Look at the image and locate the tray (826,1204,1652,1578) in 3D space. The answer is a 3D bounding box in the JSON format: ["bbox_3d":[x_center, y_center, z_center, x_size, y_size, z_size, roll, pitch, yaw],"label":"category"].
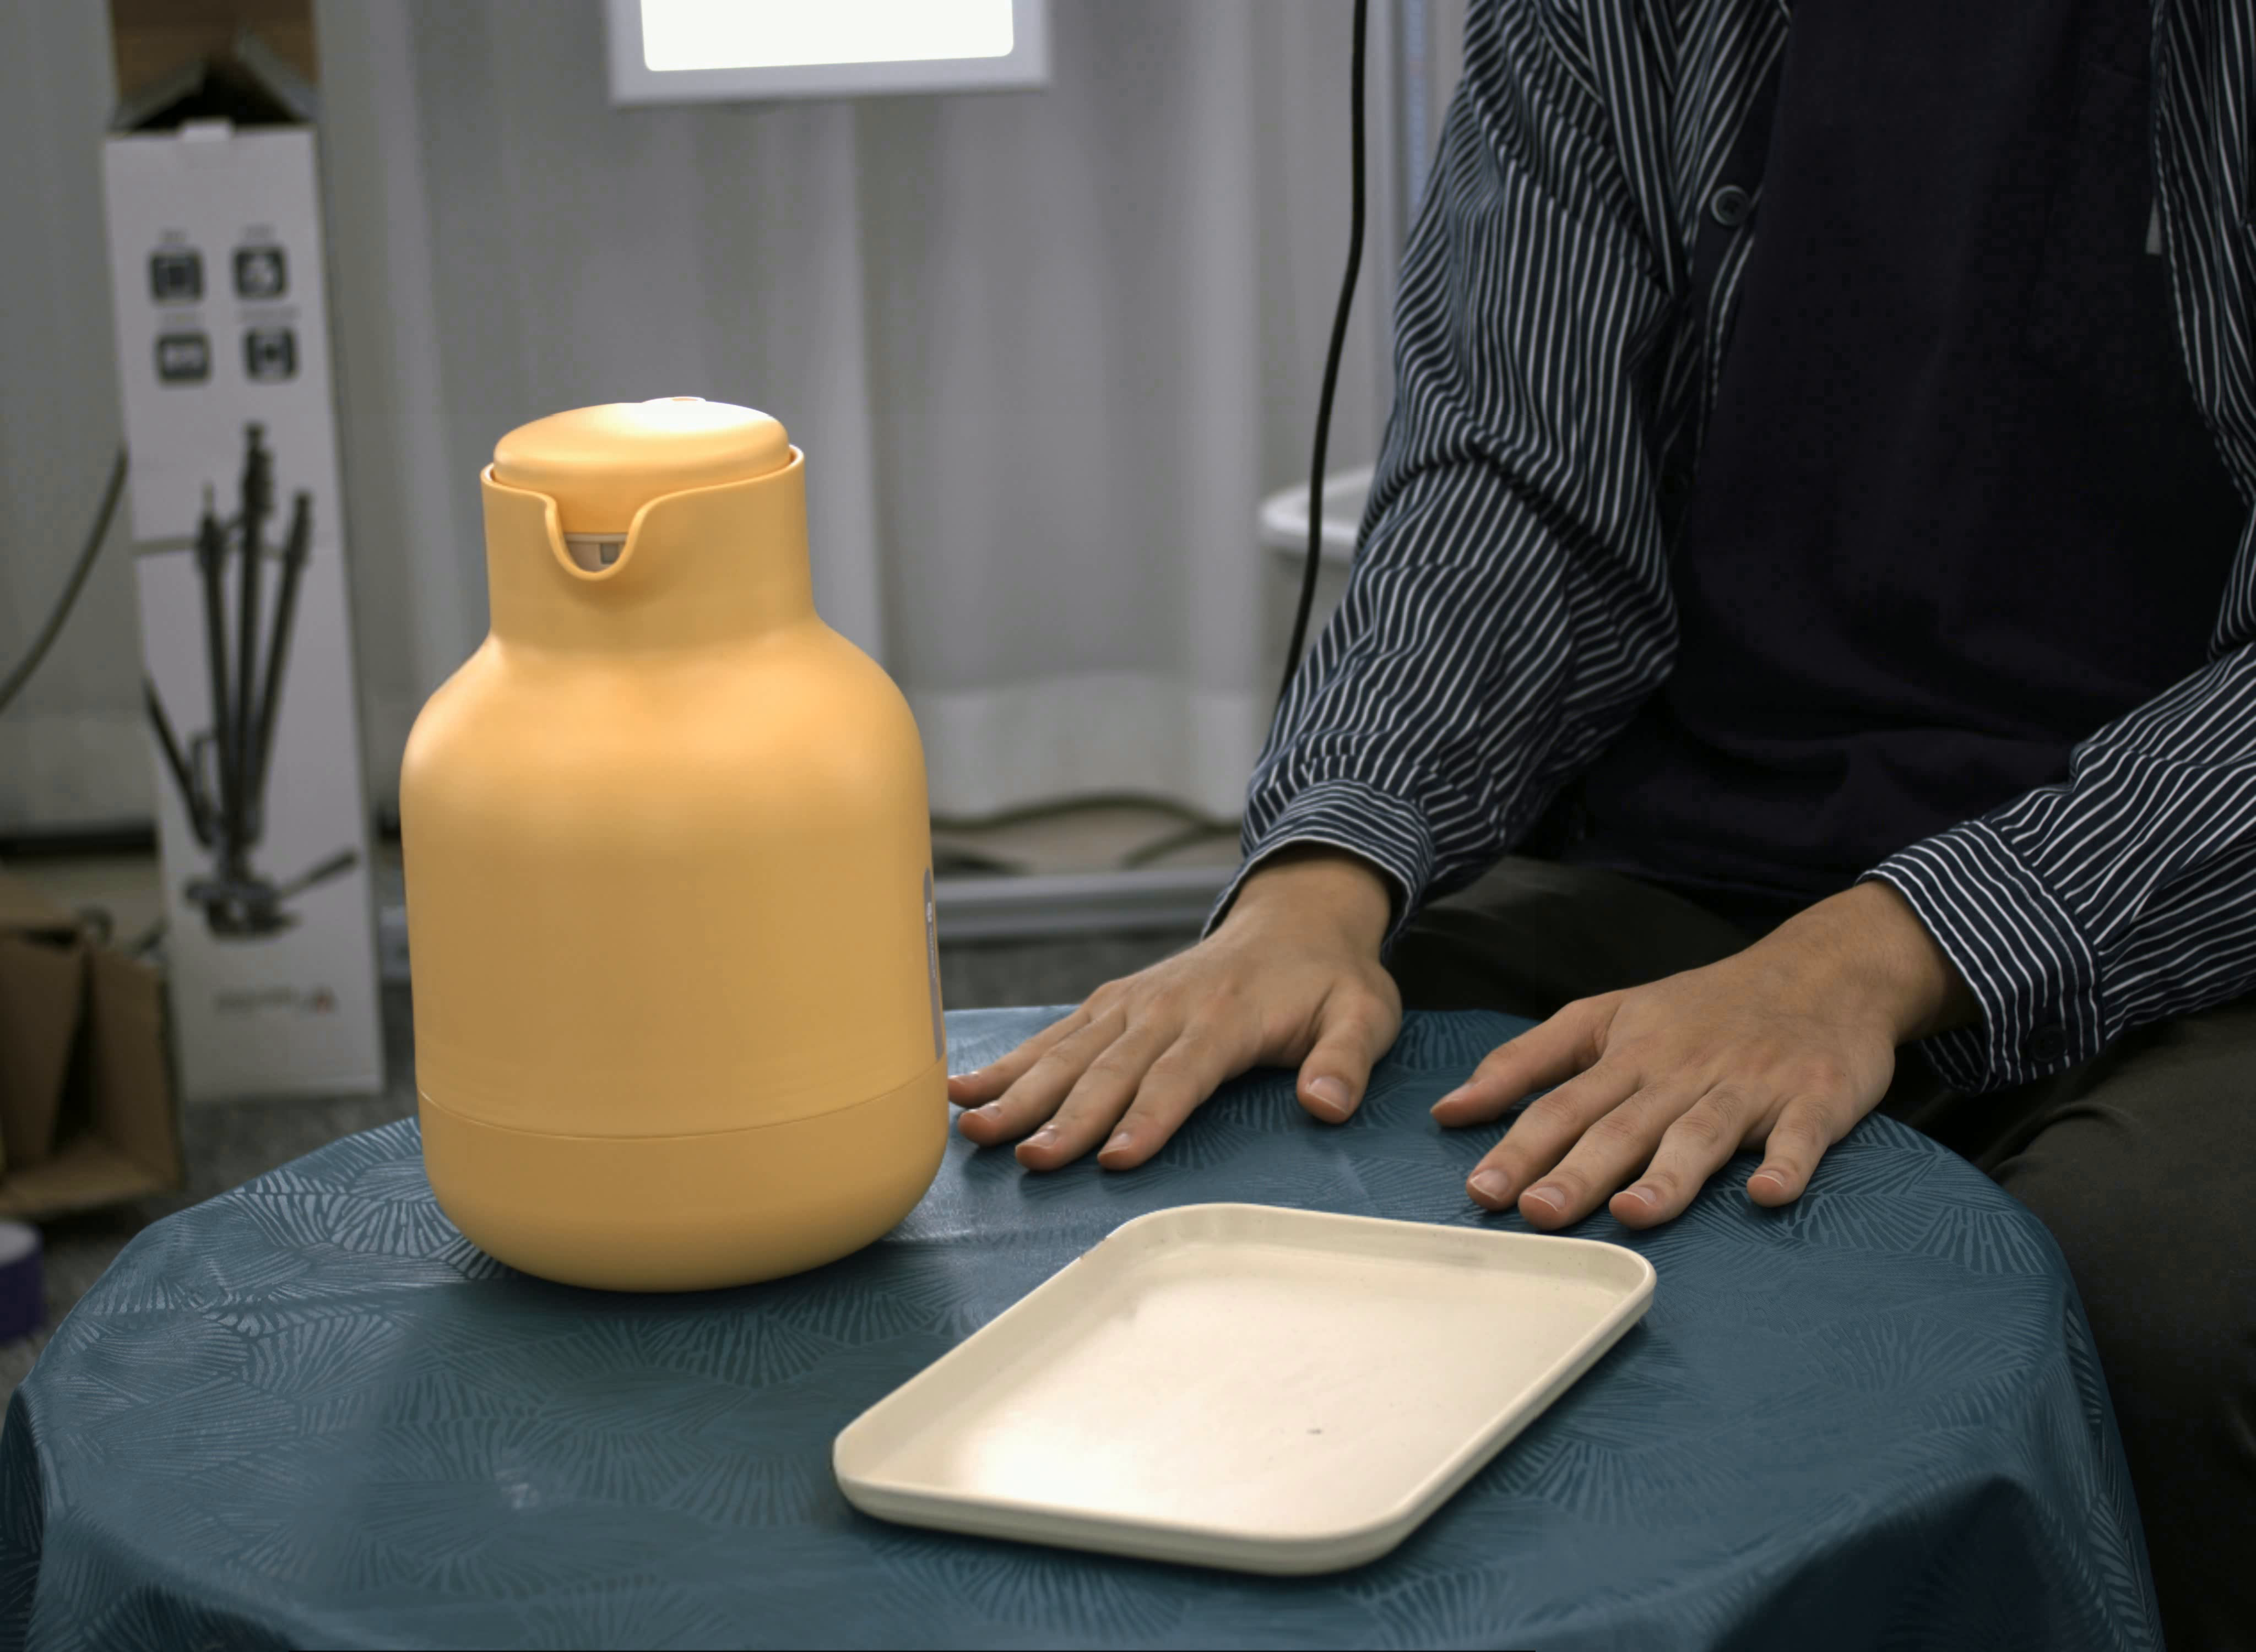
[{"bbox_3d":[0.035,0.155,1.522,0.171,0.017,0.240,5,16,25],"label":"tray"}]

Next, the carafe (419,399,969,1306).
[{"bbox_3d":[-0.130,0.000,1.674,0.163,0.259,0.203,0,14,5],"label":"carafe"}]
